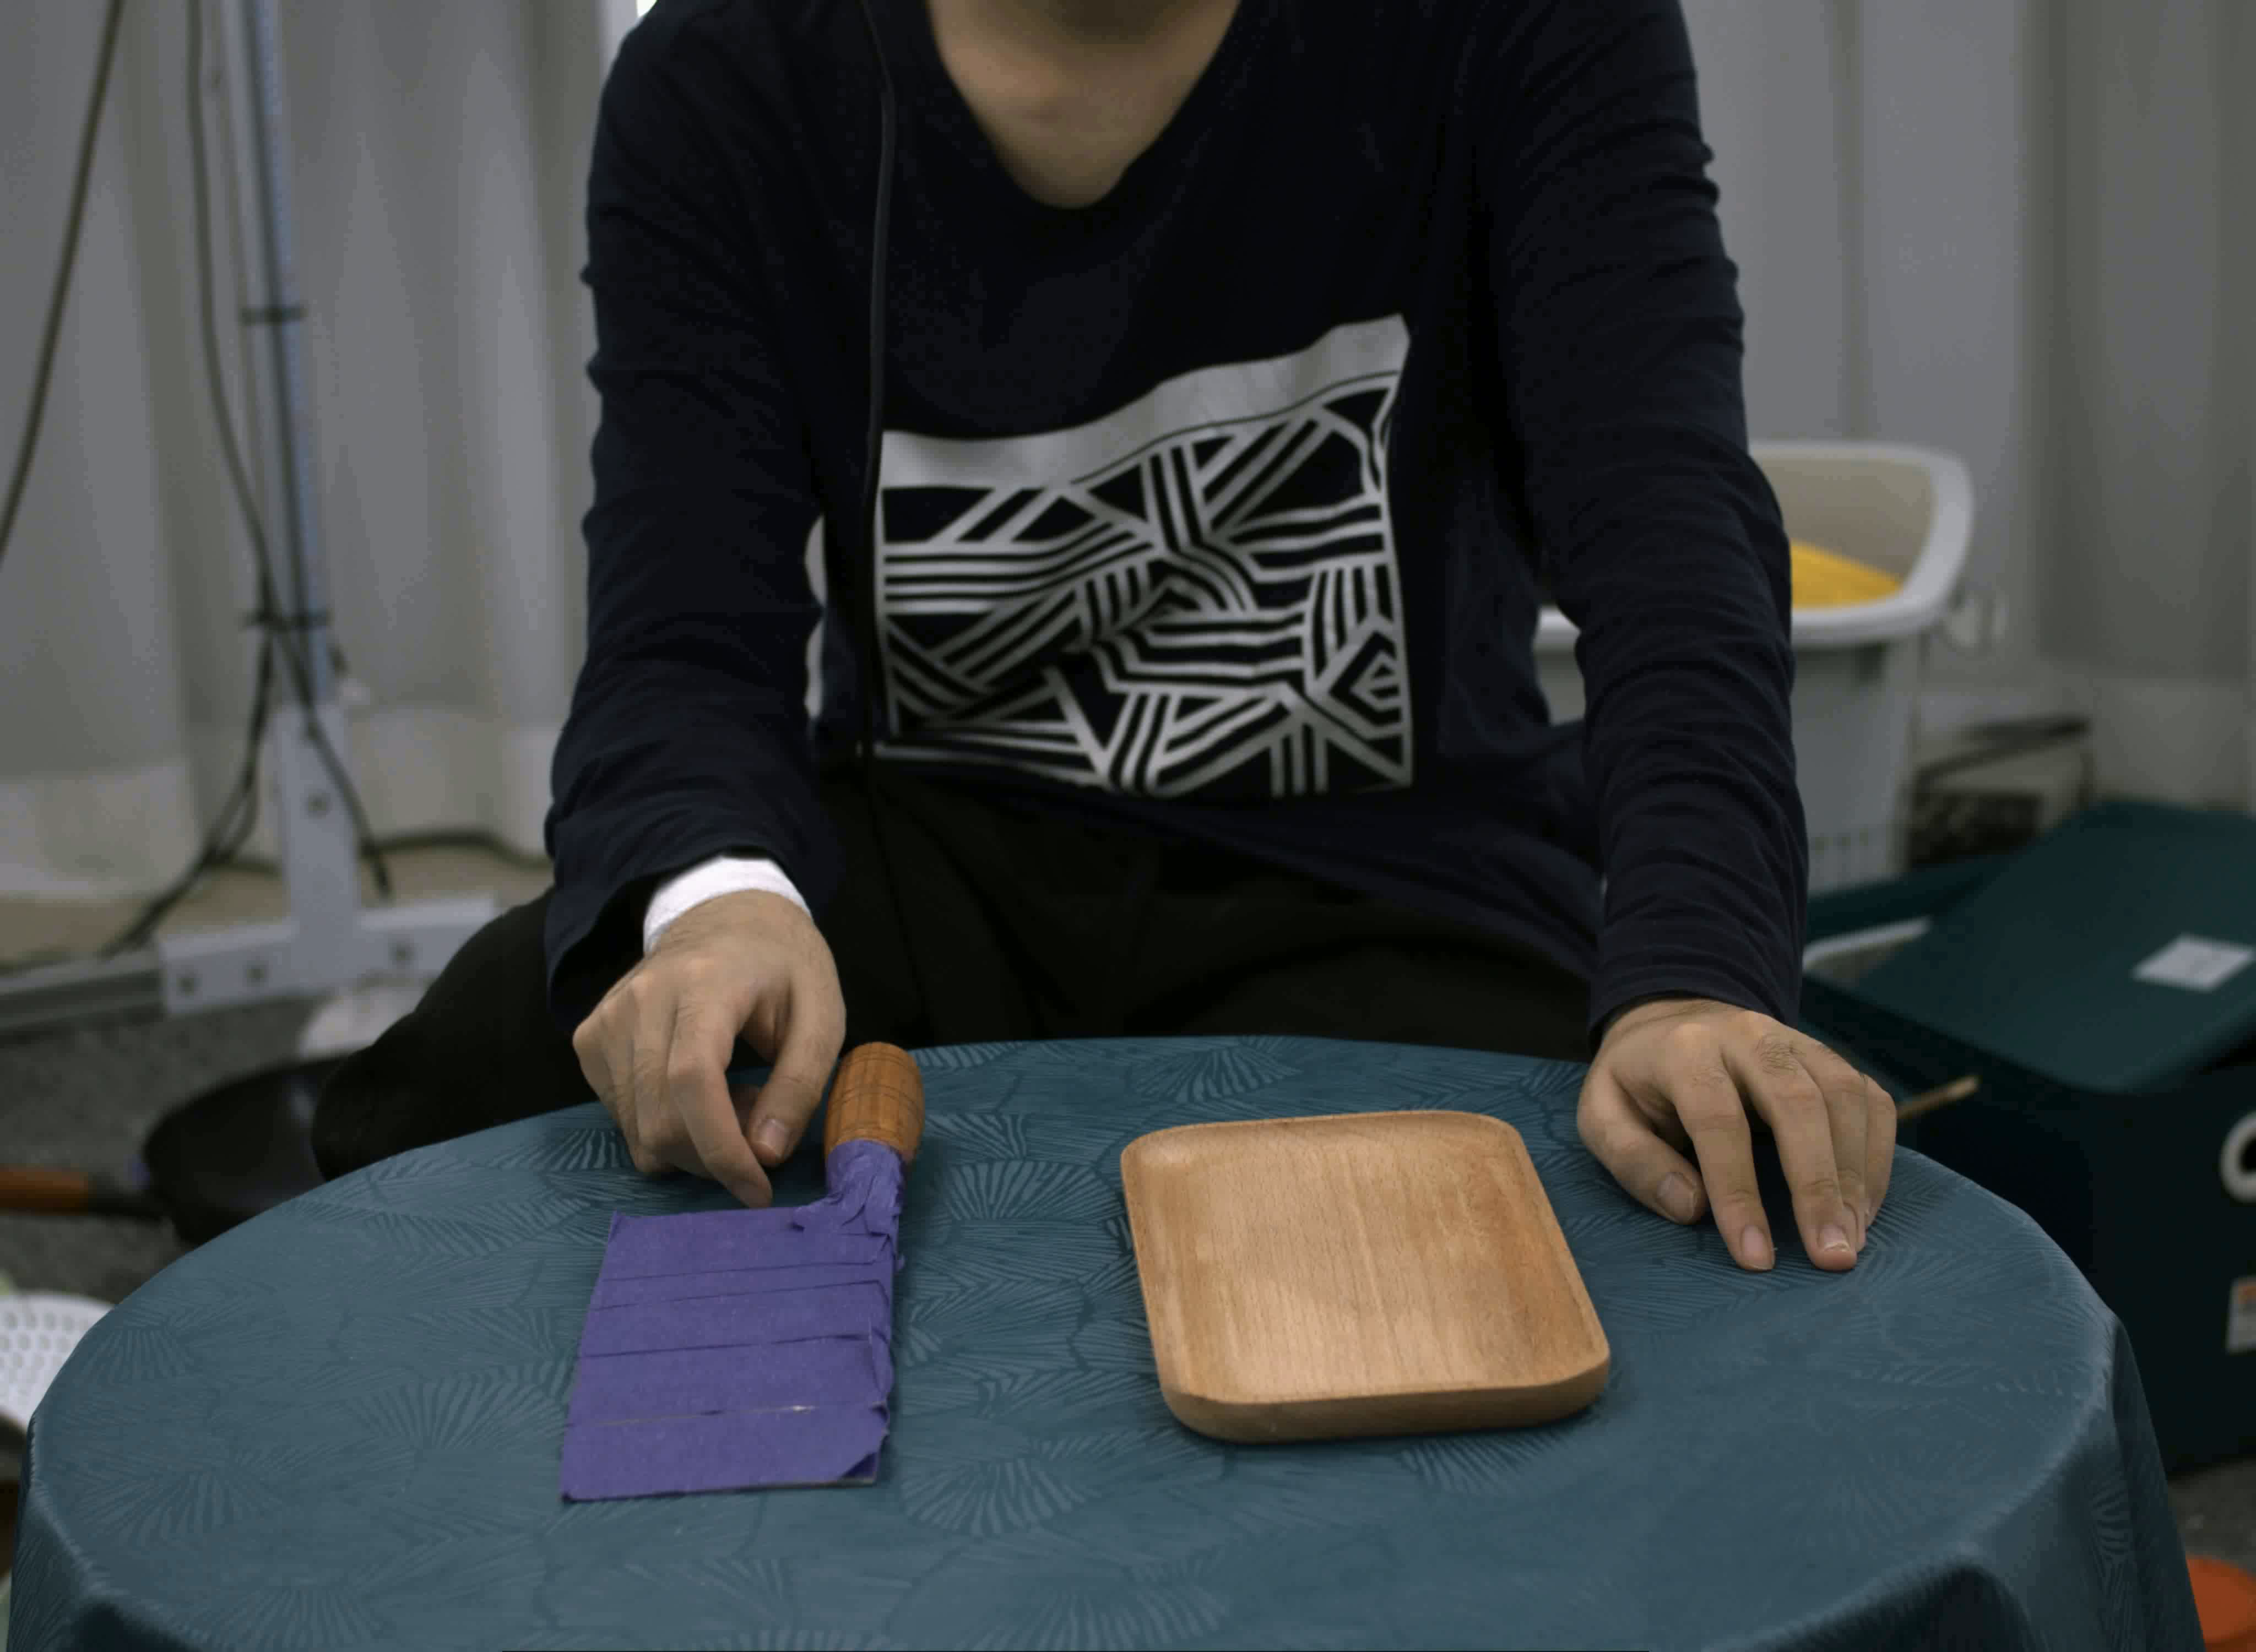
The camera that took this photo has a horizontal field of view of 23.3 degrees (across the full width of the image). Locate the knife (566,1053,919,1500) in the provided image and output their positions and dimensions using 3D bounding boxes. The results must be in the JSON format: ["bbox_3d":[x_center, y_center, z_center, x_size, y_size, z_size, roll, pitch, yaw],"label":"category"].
[{"bbox_3d":[-0.112,0.130,1.629,0.103,0.032,0.317,-3,15,-1],"label":"knife"}]

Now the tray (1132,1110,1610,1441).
[{"bbox_3d":[0.068,0.130,1.616,0.130,0.023,0.252,-1,14,-1],"label":"tray"}]
